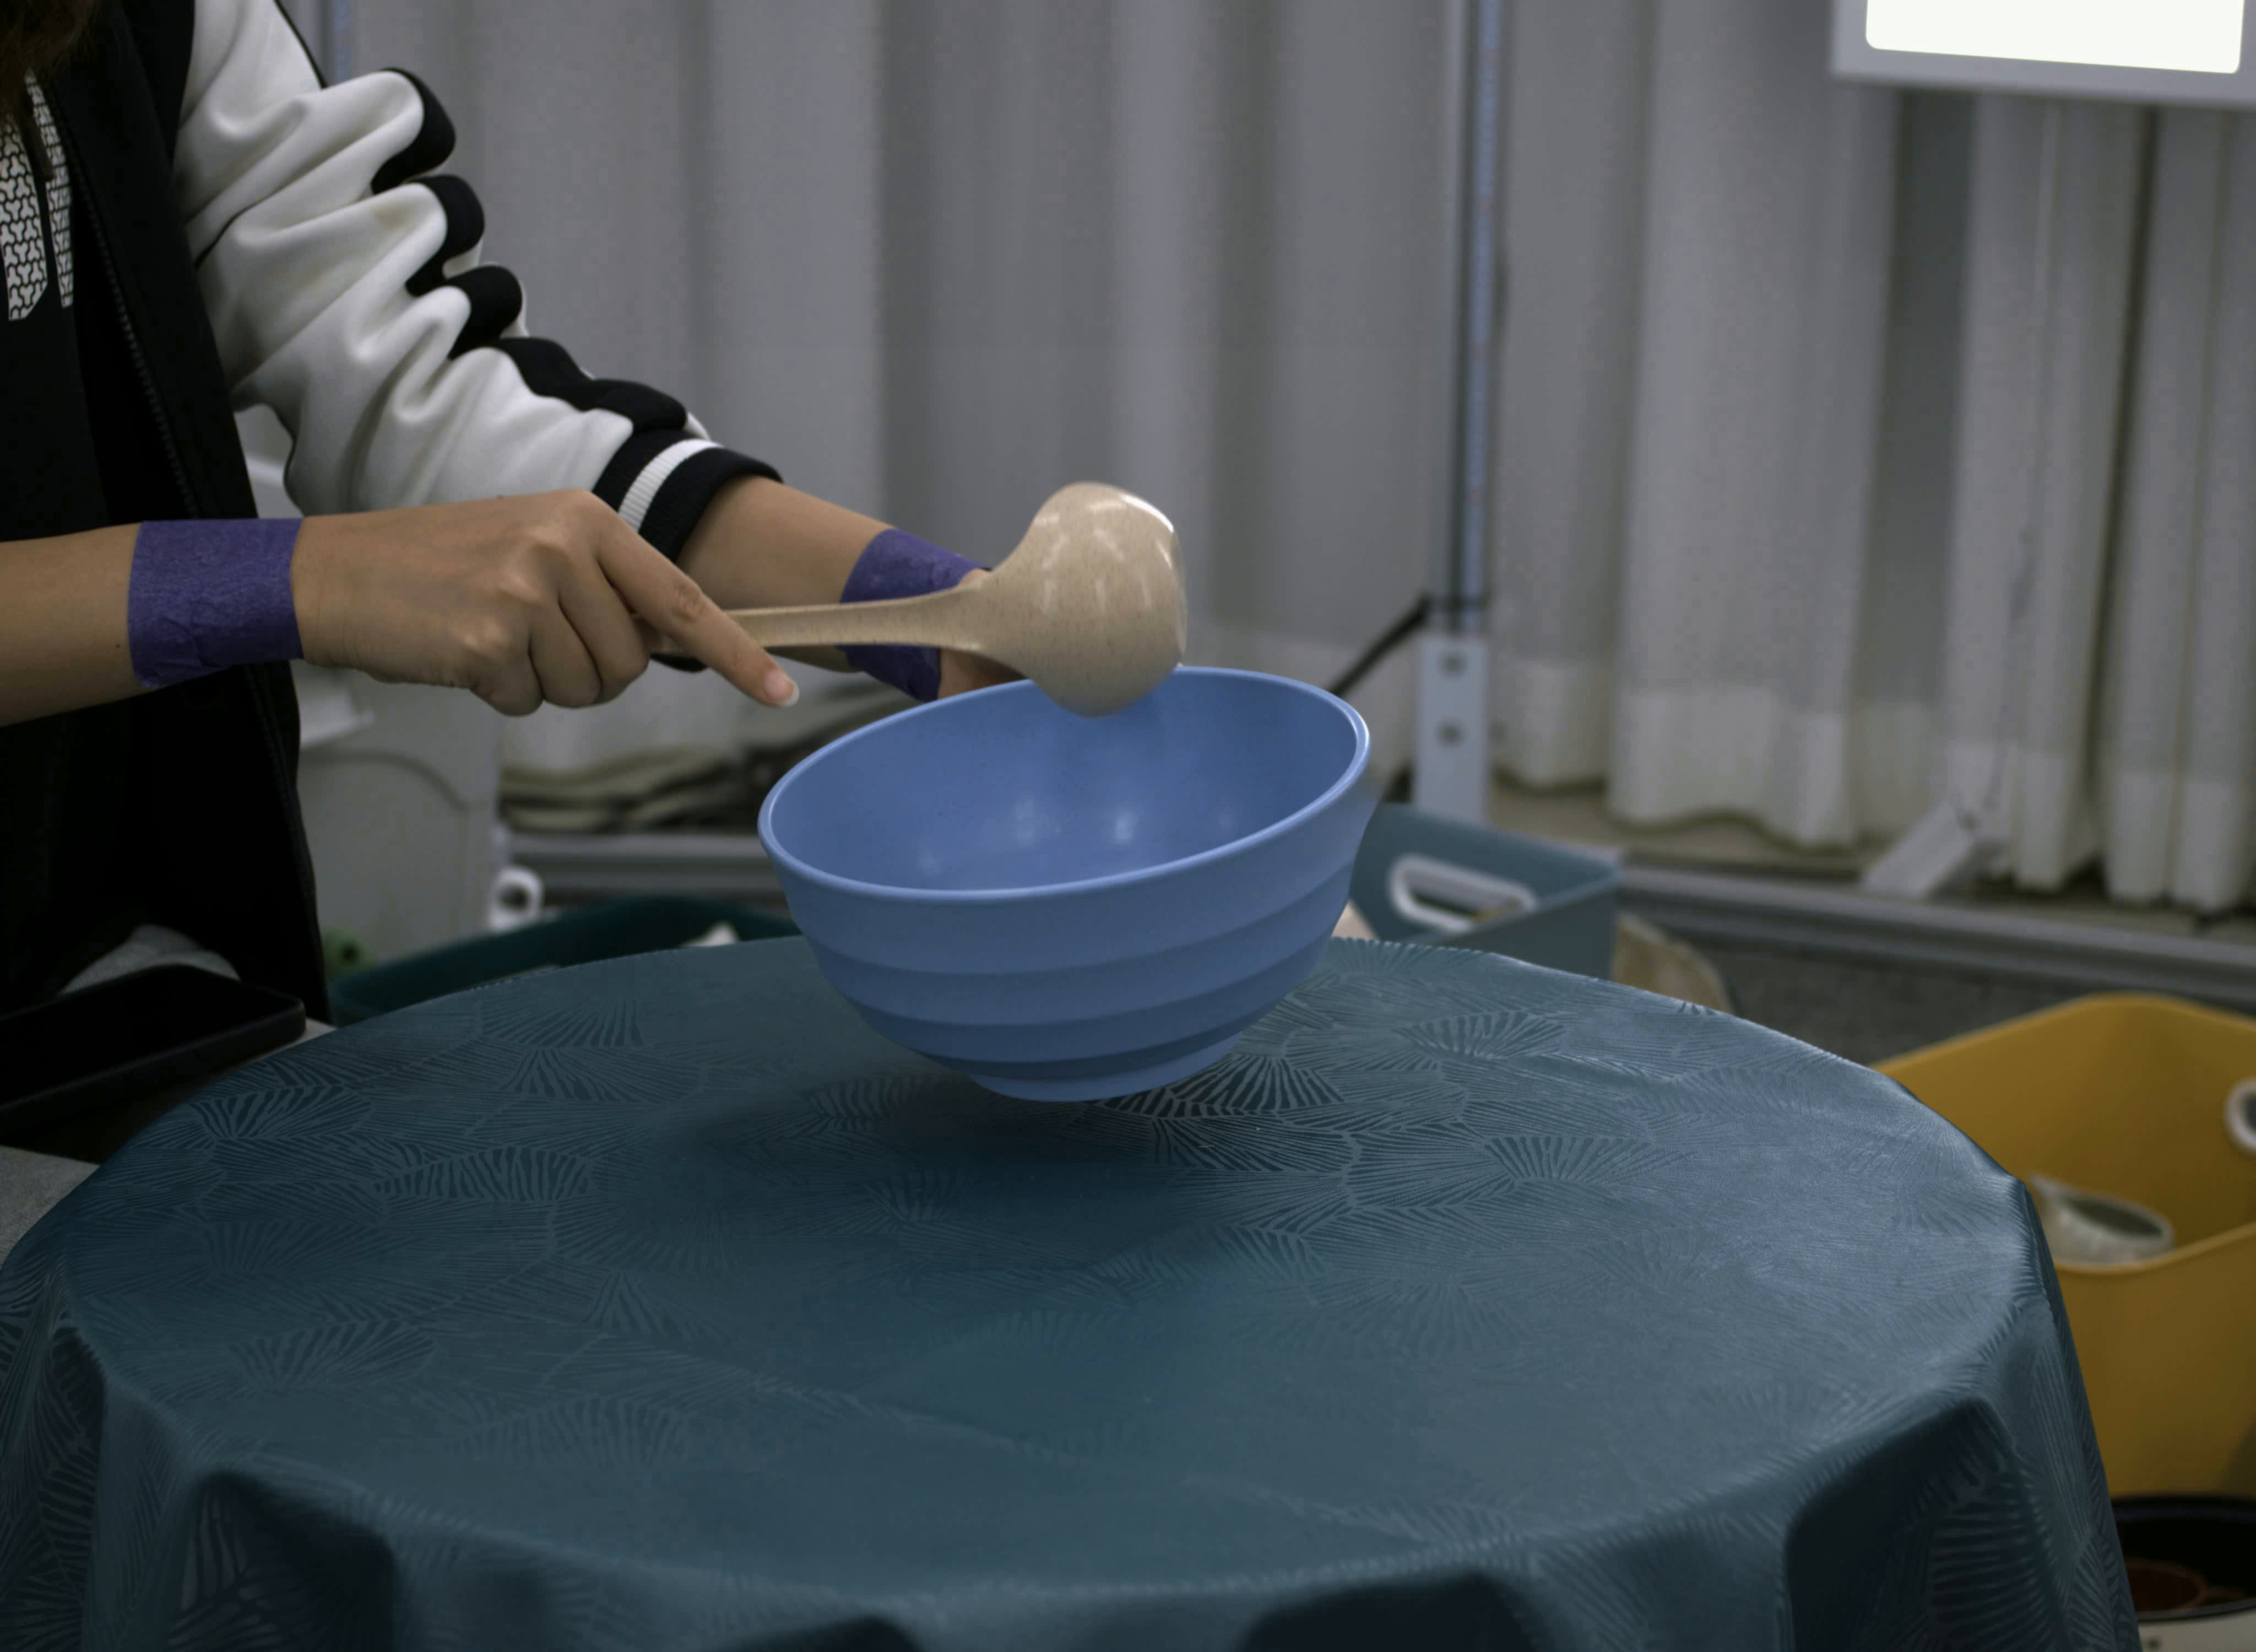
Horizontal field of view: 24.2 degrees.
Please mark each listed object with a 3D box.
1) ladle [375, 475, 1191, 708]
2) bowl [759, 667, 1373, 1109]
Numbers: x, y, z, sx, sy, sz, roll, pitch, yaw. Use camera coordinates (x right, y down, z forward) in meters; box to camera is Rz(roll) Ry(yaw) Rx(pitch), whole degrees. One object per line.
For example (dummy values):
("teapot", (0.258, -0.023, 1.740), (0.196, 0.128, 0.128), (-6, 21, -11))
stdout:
("ladle", (-0.105, -0.072, 1.658), (0.252, 0.072, 0.073), (0, 10, 12))
("bowl", (-0.014, 0.028, 1.679), (0.196, 0.096, 0.195), (-6, 22, 3))
